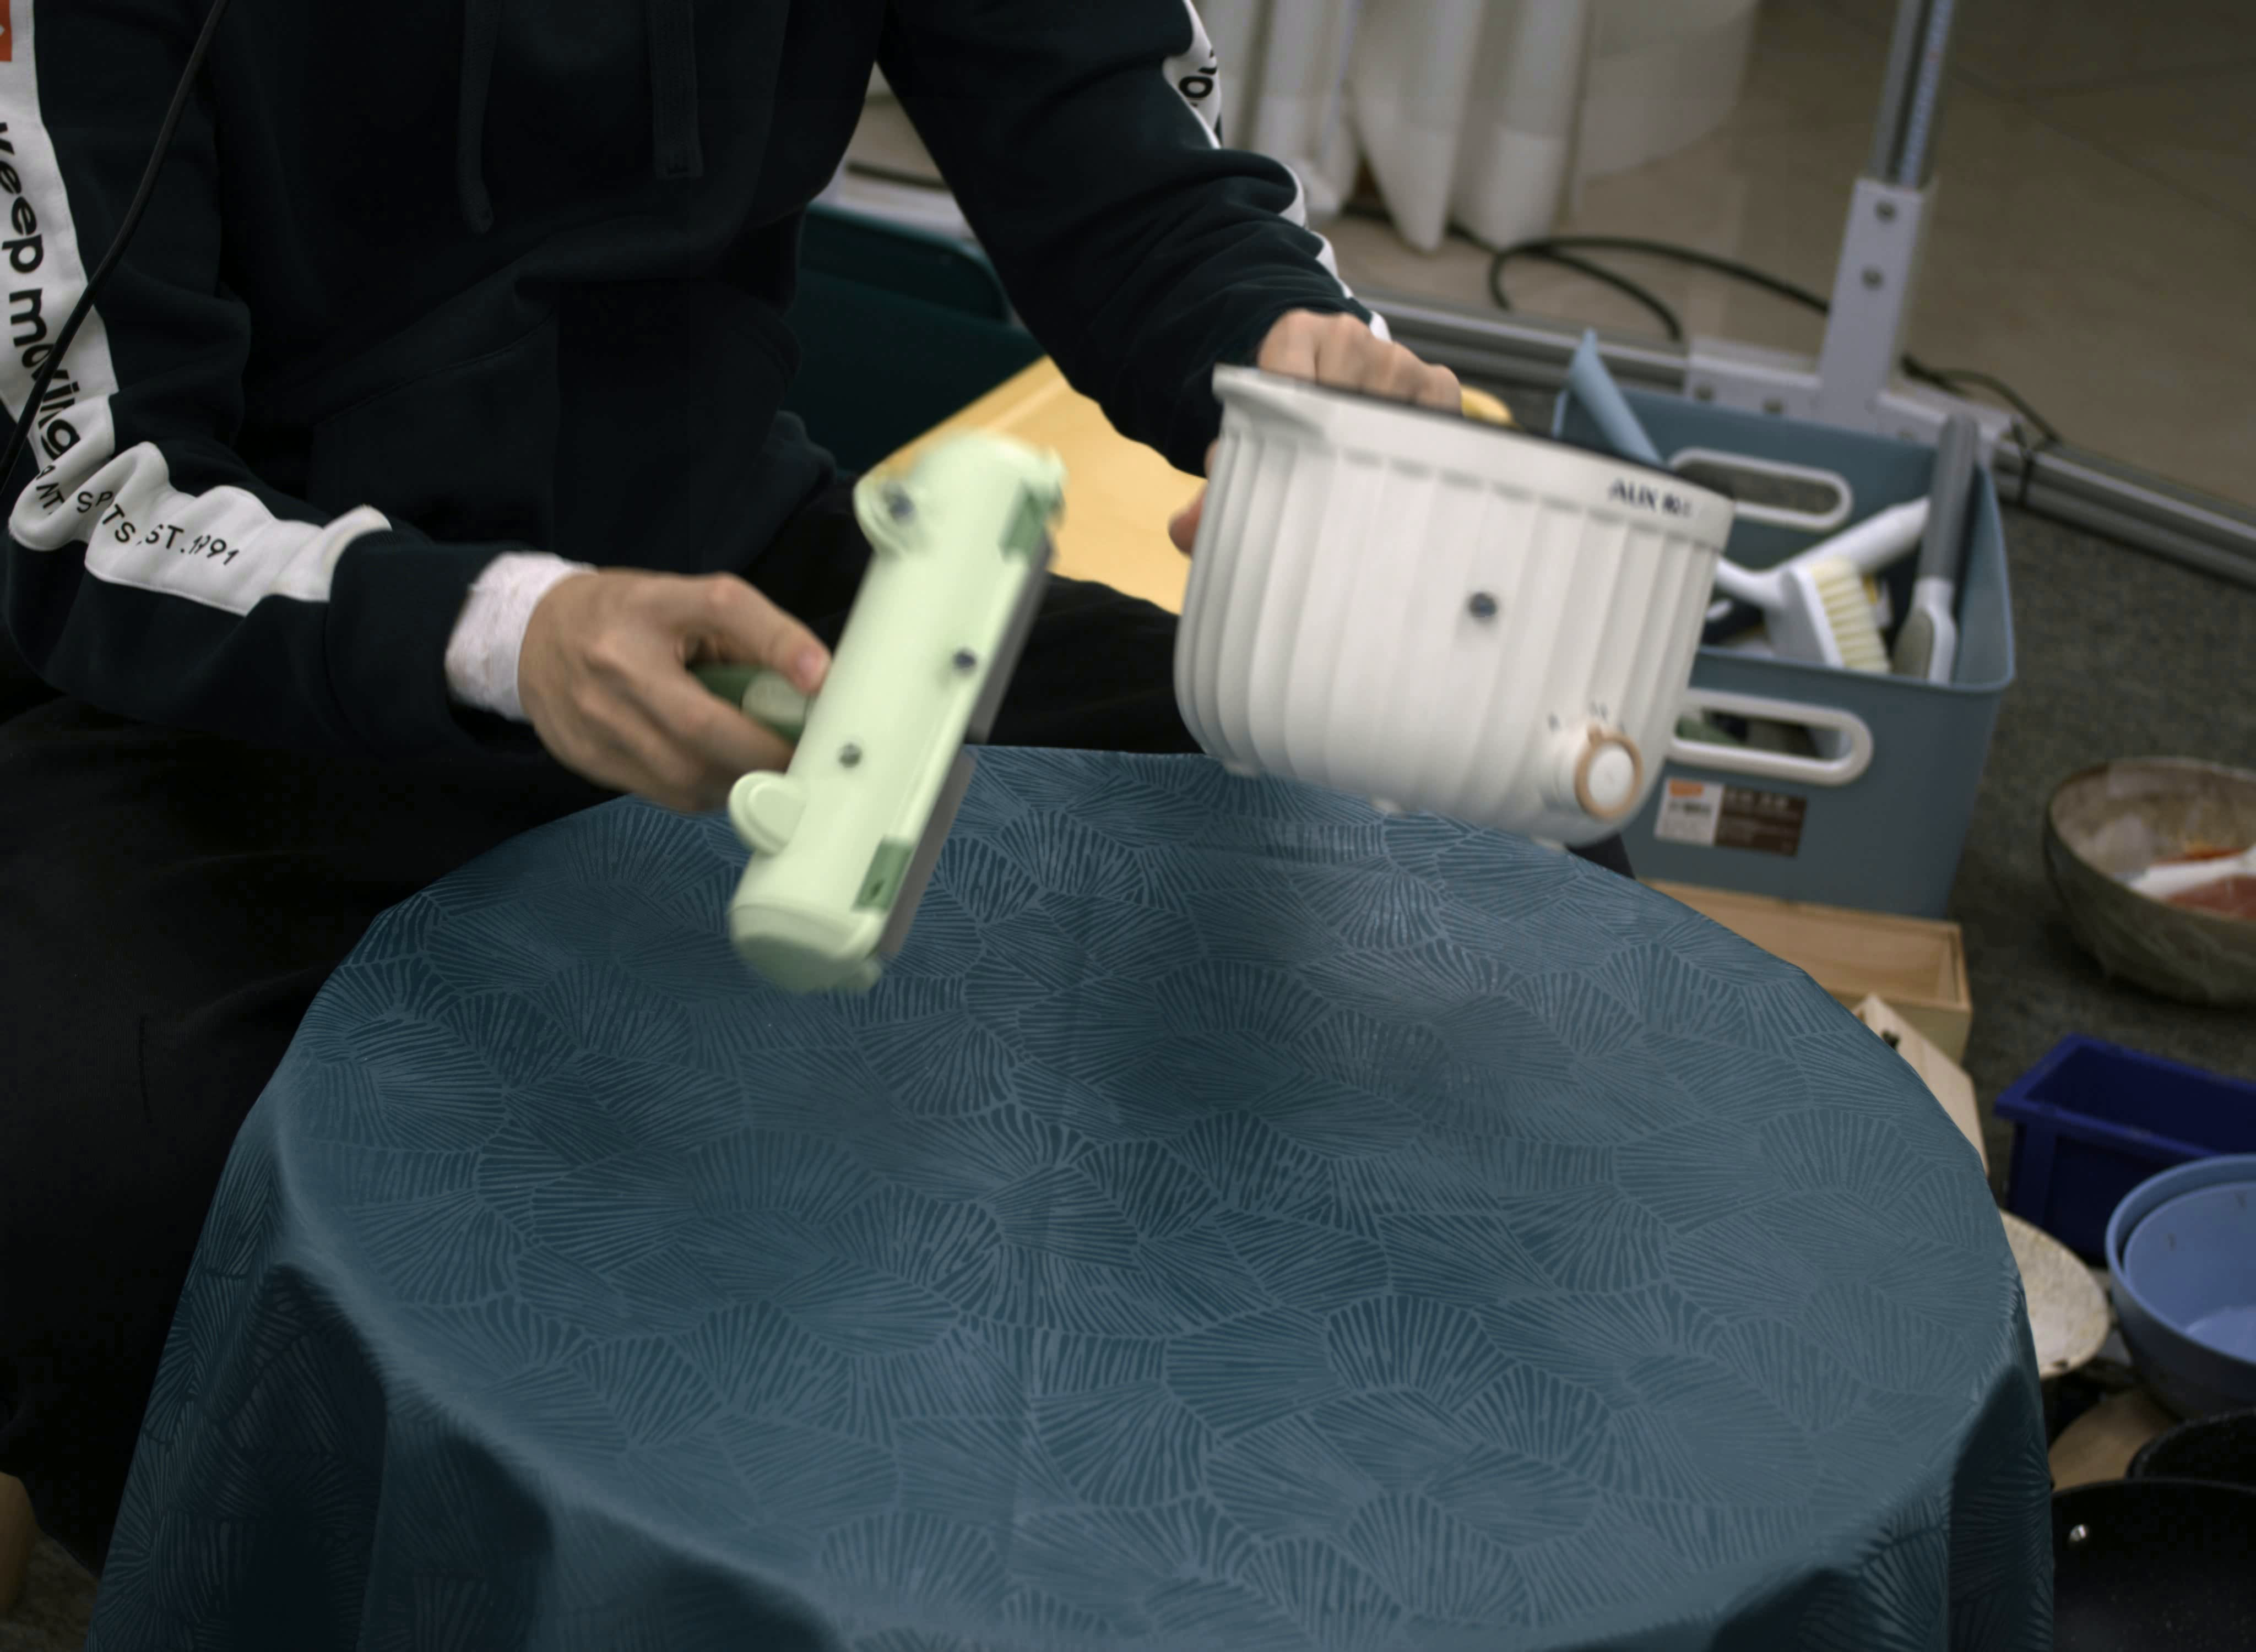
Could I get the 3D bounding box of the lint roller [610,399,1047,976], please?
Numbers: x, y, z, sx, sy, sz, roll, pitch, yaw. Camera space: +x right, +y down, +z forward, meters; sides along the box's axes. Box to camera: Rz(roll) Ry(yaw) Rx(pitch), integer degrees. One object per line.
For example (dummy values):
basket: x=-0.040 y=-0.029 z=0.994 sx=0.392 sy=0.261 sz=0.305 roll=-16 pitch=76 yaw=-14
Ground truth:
lint roller: x=-0.124 y=-0.051 z=1.805 sx=0.184 sy=0.199 sz=0.081 roll=2 pitch=-24 yaw=37

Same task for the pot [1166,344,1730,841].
pot: x=0.110 y=-0.075 z=1.849 sx=0.238 sy=0.143 sz=0.191 roll=14 pitch=-3 yaw=-40
